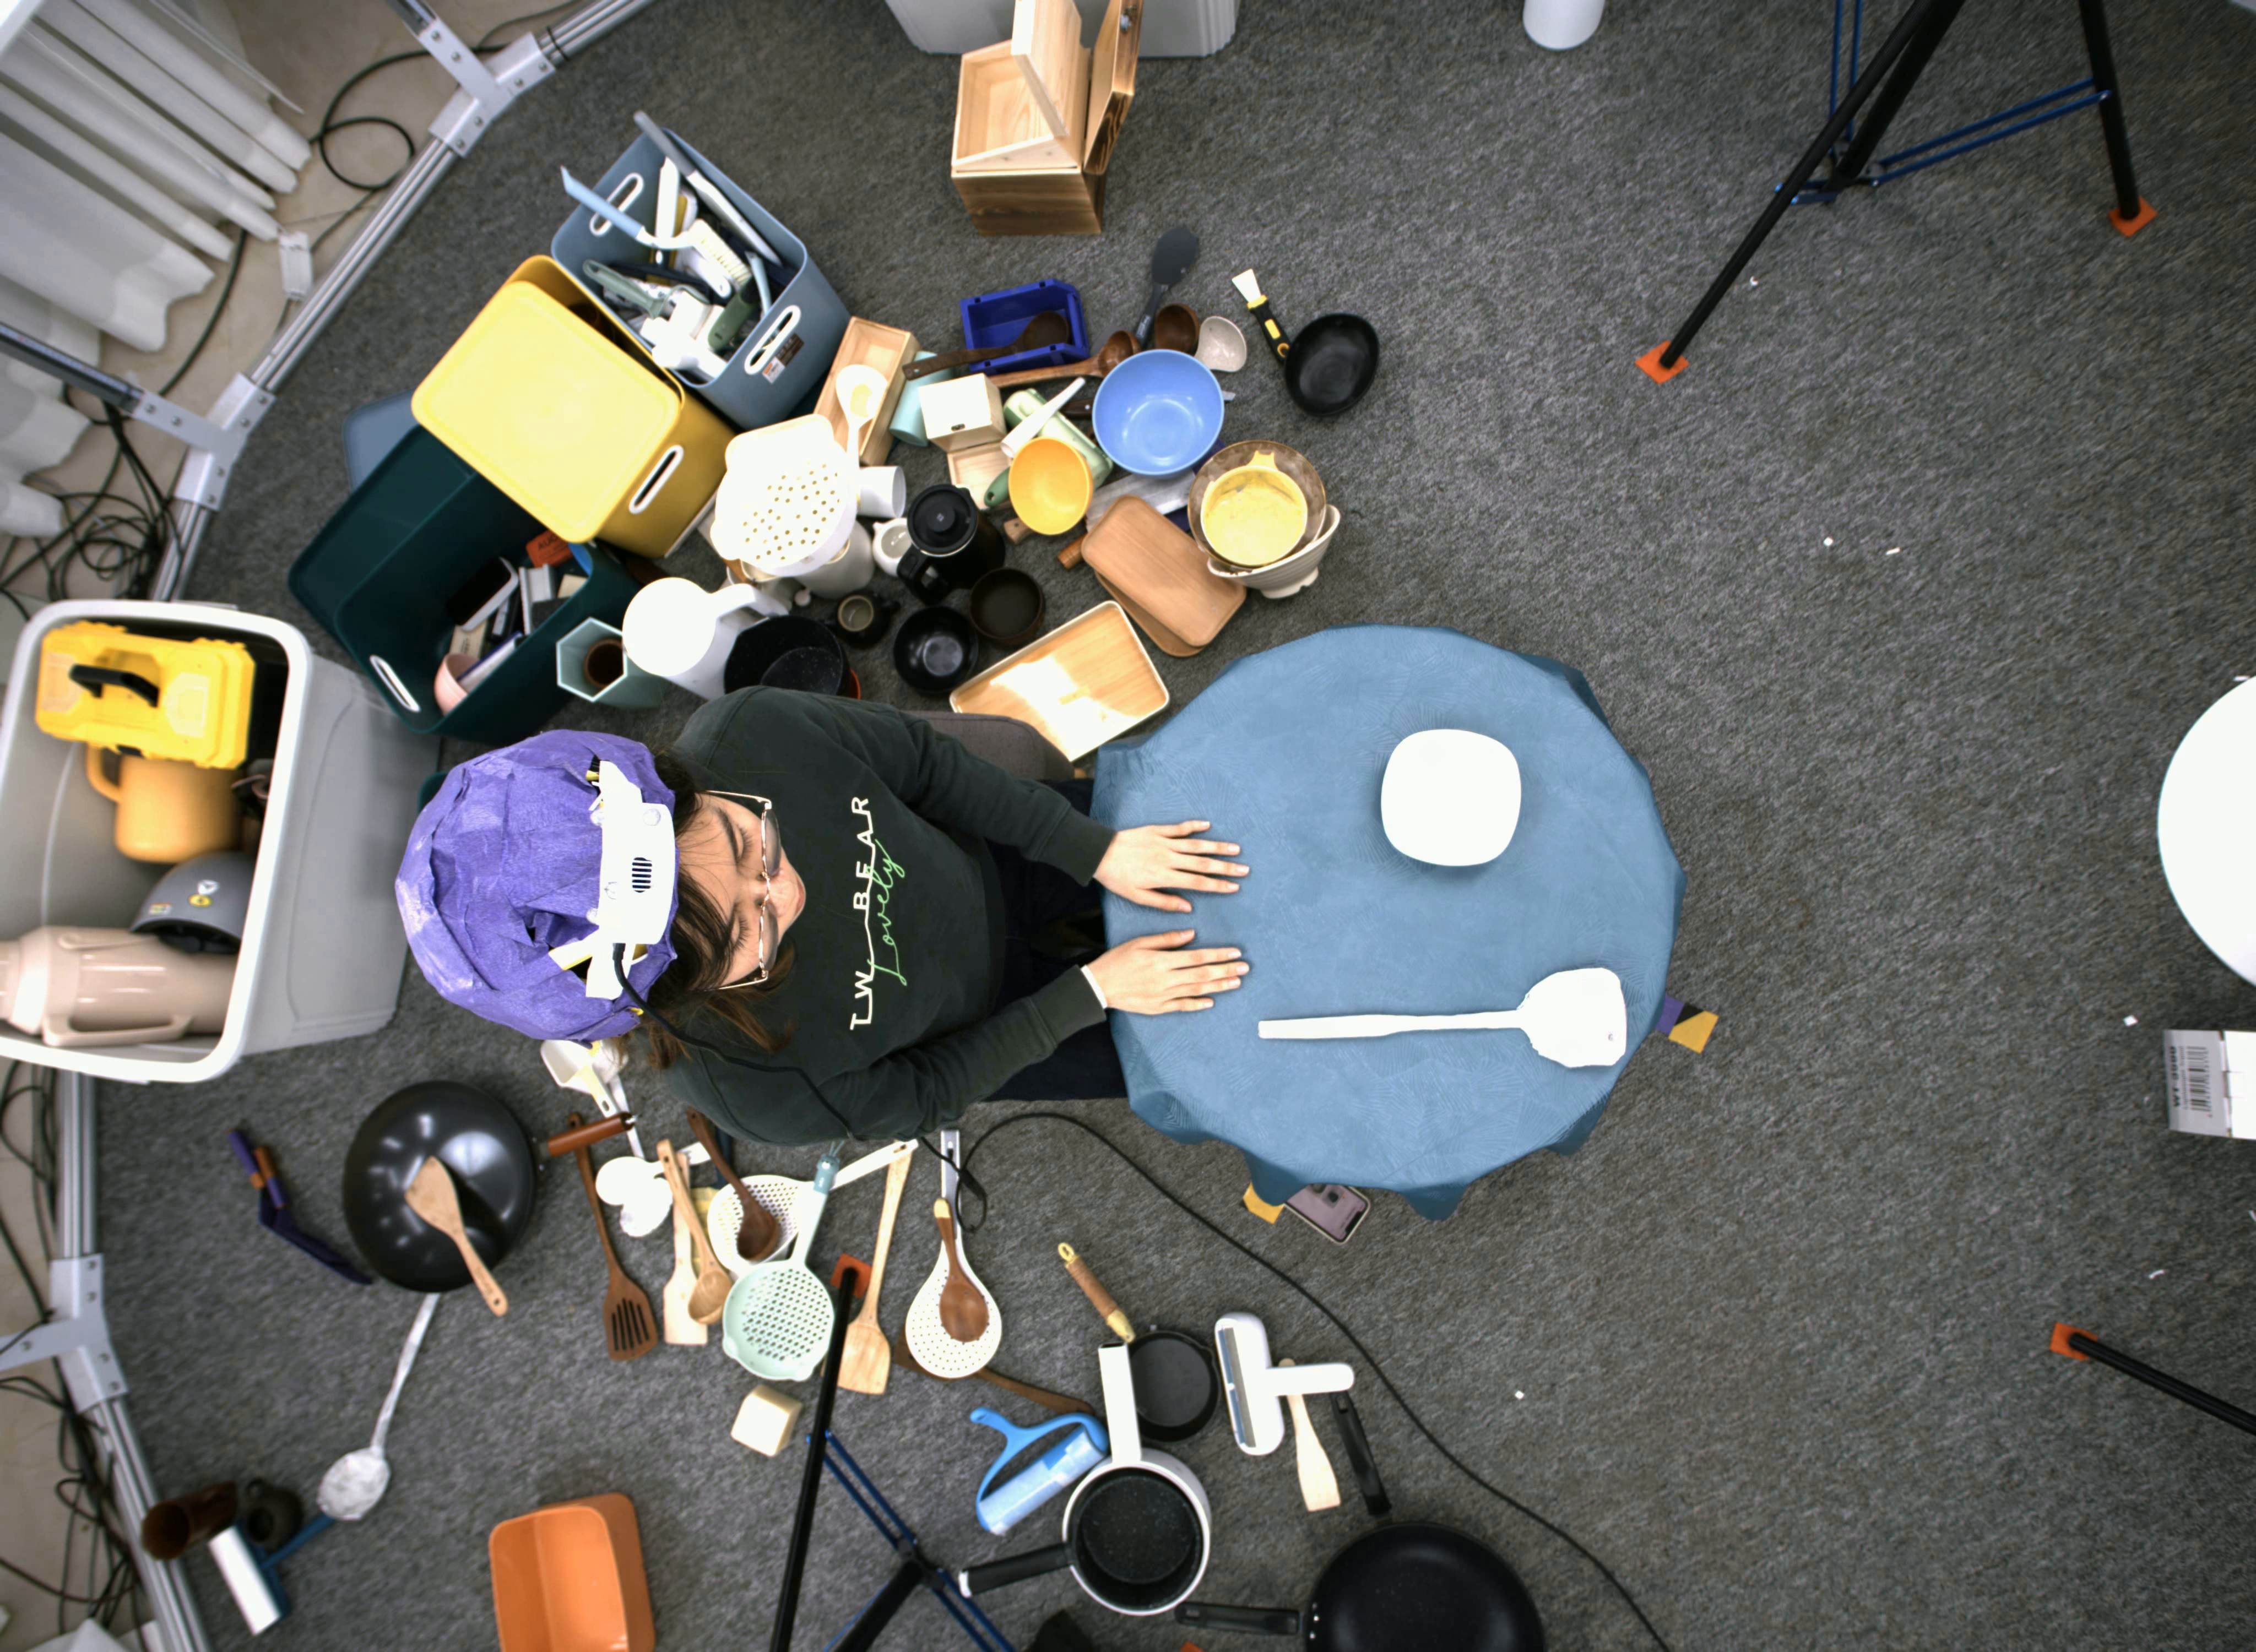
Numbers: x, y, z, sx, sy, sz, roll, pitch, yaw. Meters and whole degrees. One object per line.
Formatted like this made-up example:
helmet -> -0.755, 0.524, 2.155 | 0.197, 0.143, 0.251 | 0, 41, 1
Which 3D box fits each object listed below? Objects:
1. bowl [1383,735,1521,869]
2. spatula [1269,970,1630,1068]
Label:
bowl -> 0.335, -0.023, 1.432 | 0.152, 0.059, 0.150 | -1, 83, 9
spatula -> 0.327, 0.199, 1.426 | 0.366, 0.045, 0.098 | -3, 87, 10
